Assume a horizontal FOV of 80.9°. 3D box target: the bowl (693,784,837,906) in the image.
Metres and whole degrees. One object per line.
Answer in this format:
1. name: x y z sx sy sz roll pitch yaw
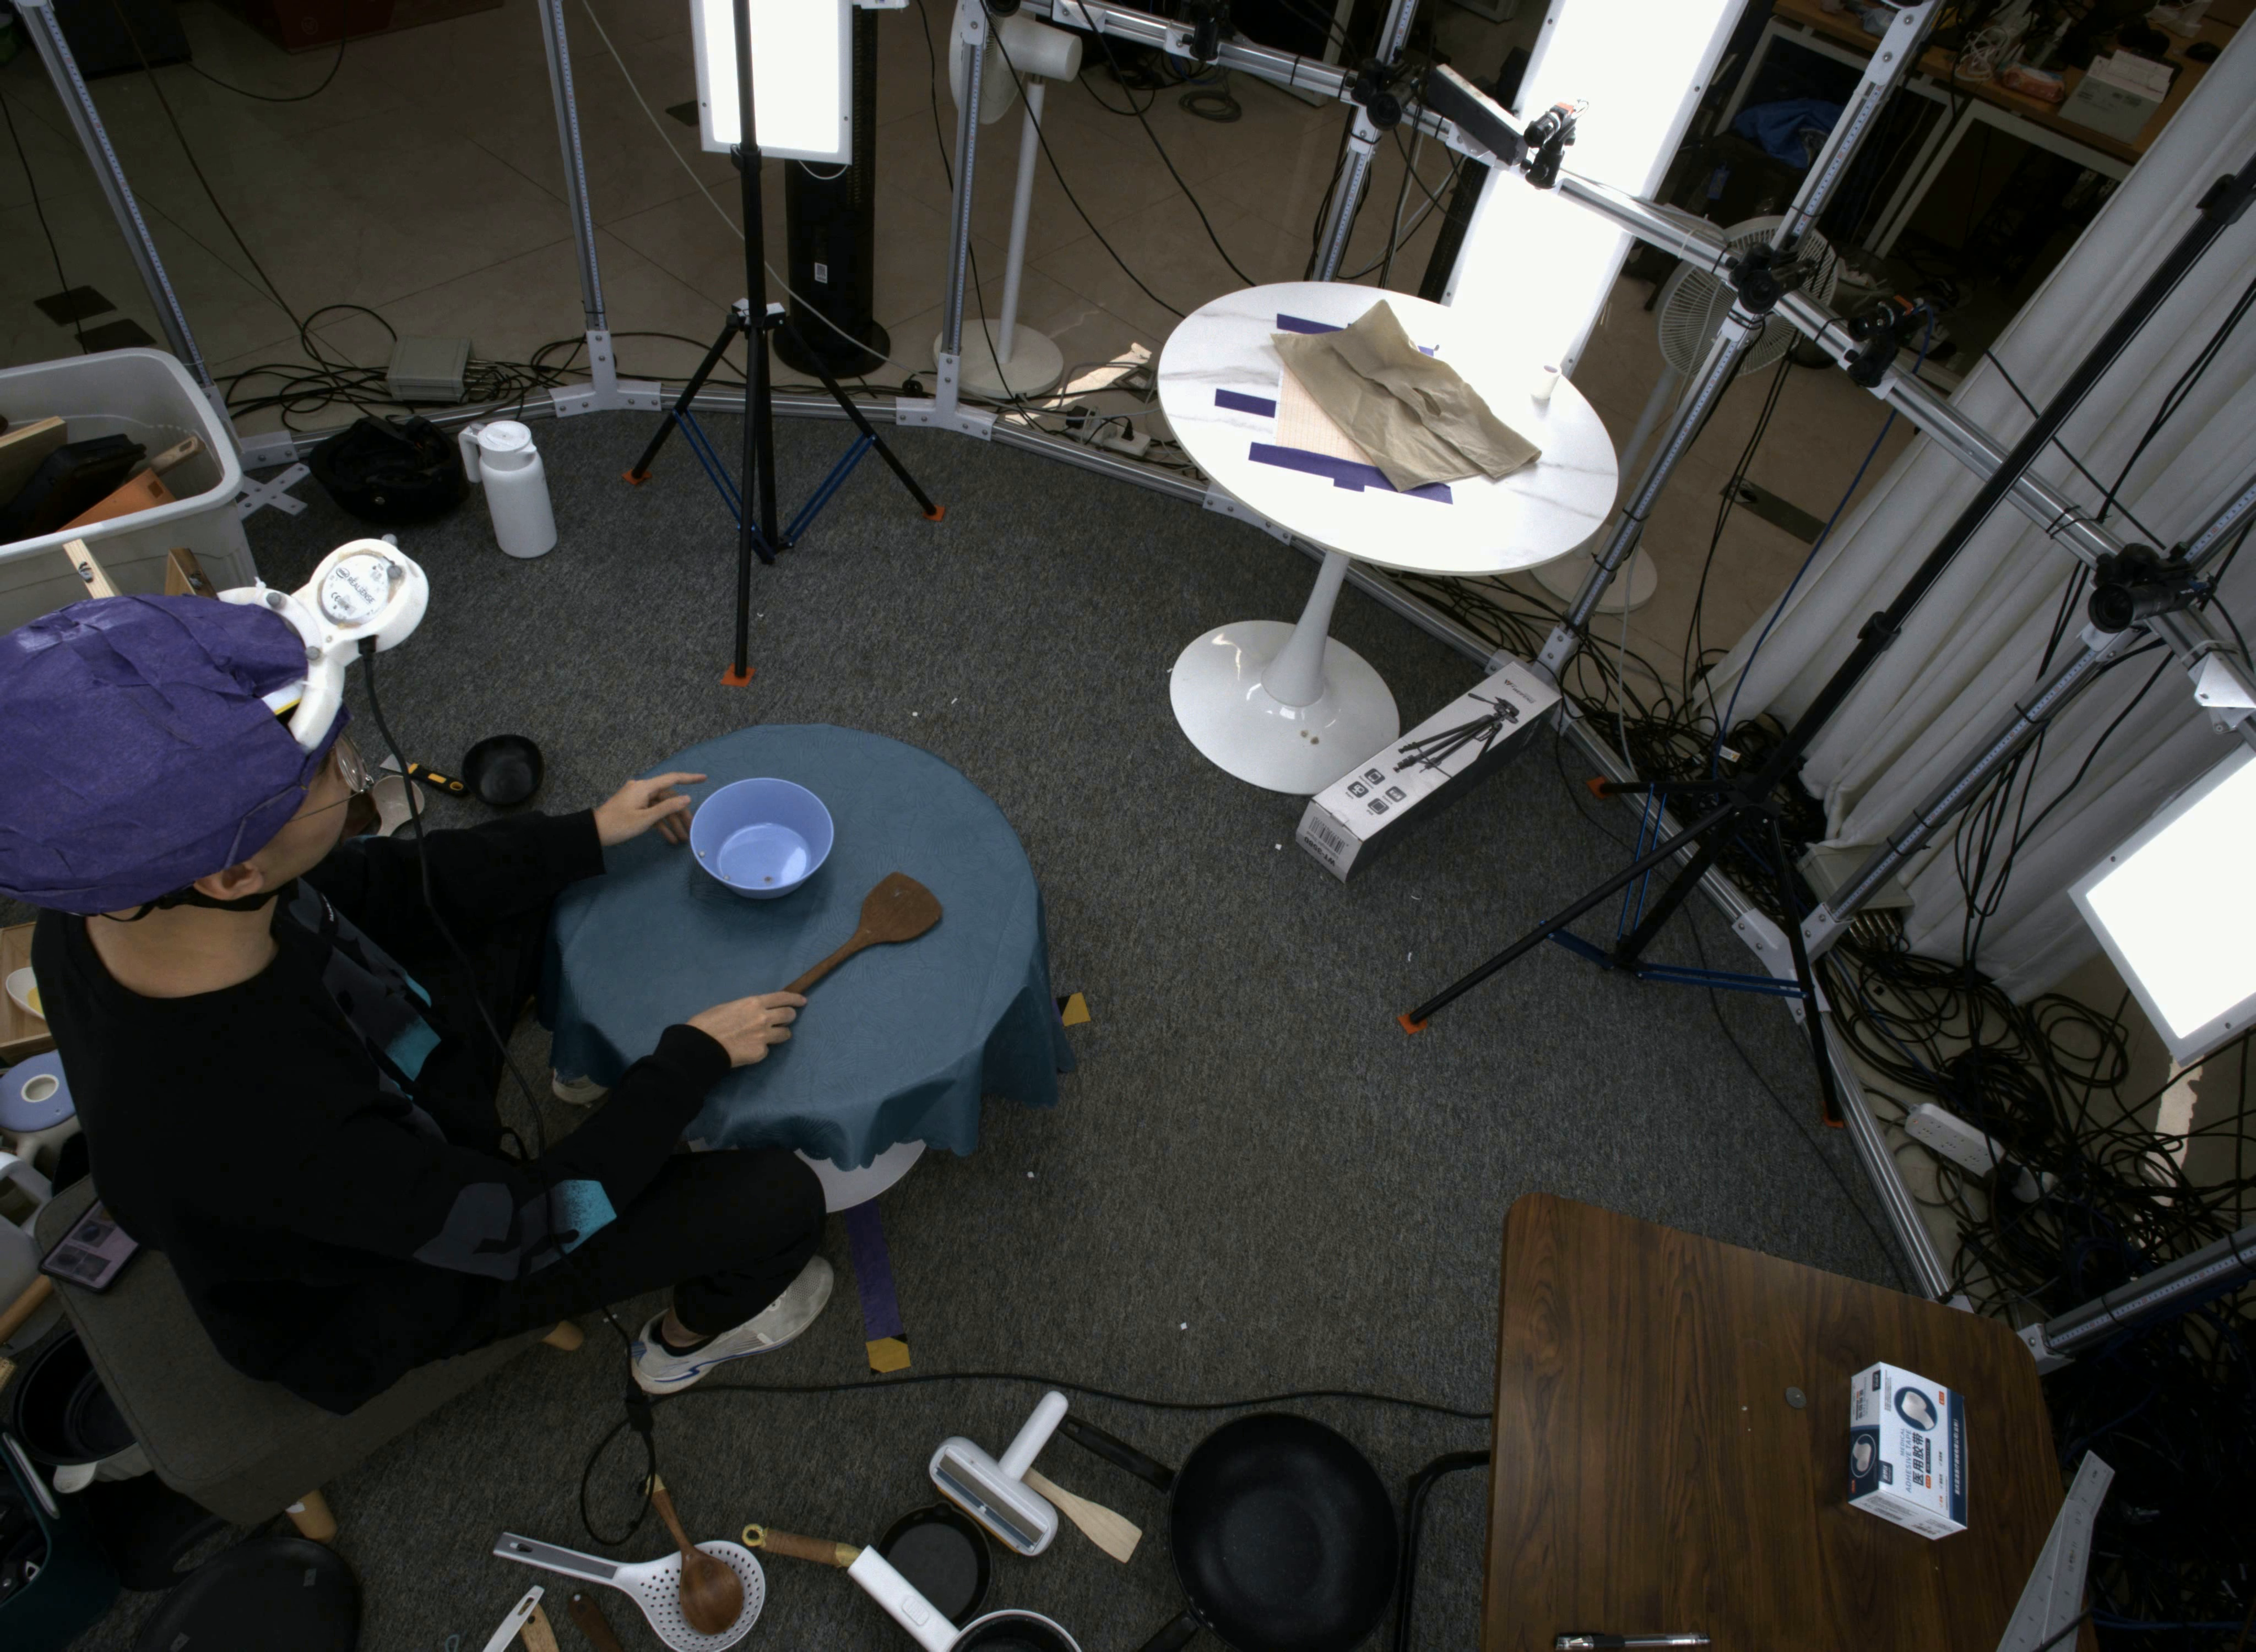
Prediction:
1. bowl: -0.461 0.033 1.648 0.176 0.071 0.173 10 50 -10

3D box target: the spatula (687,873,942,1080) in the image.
1. spatula: -0.385 0.182 1.590 0.094 0.016 0.386 38 52 15
